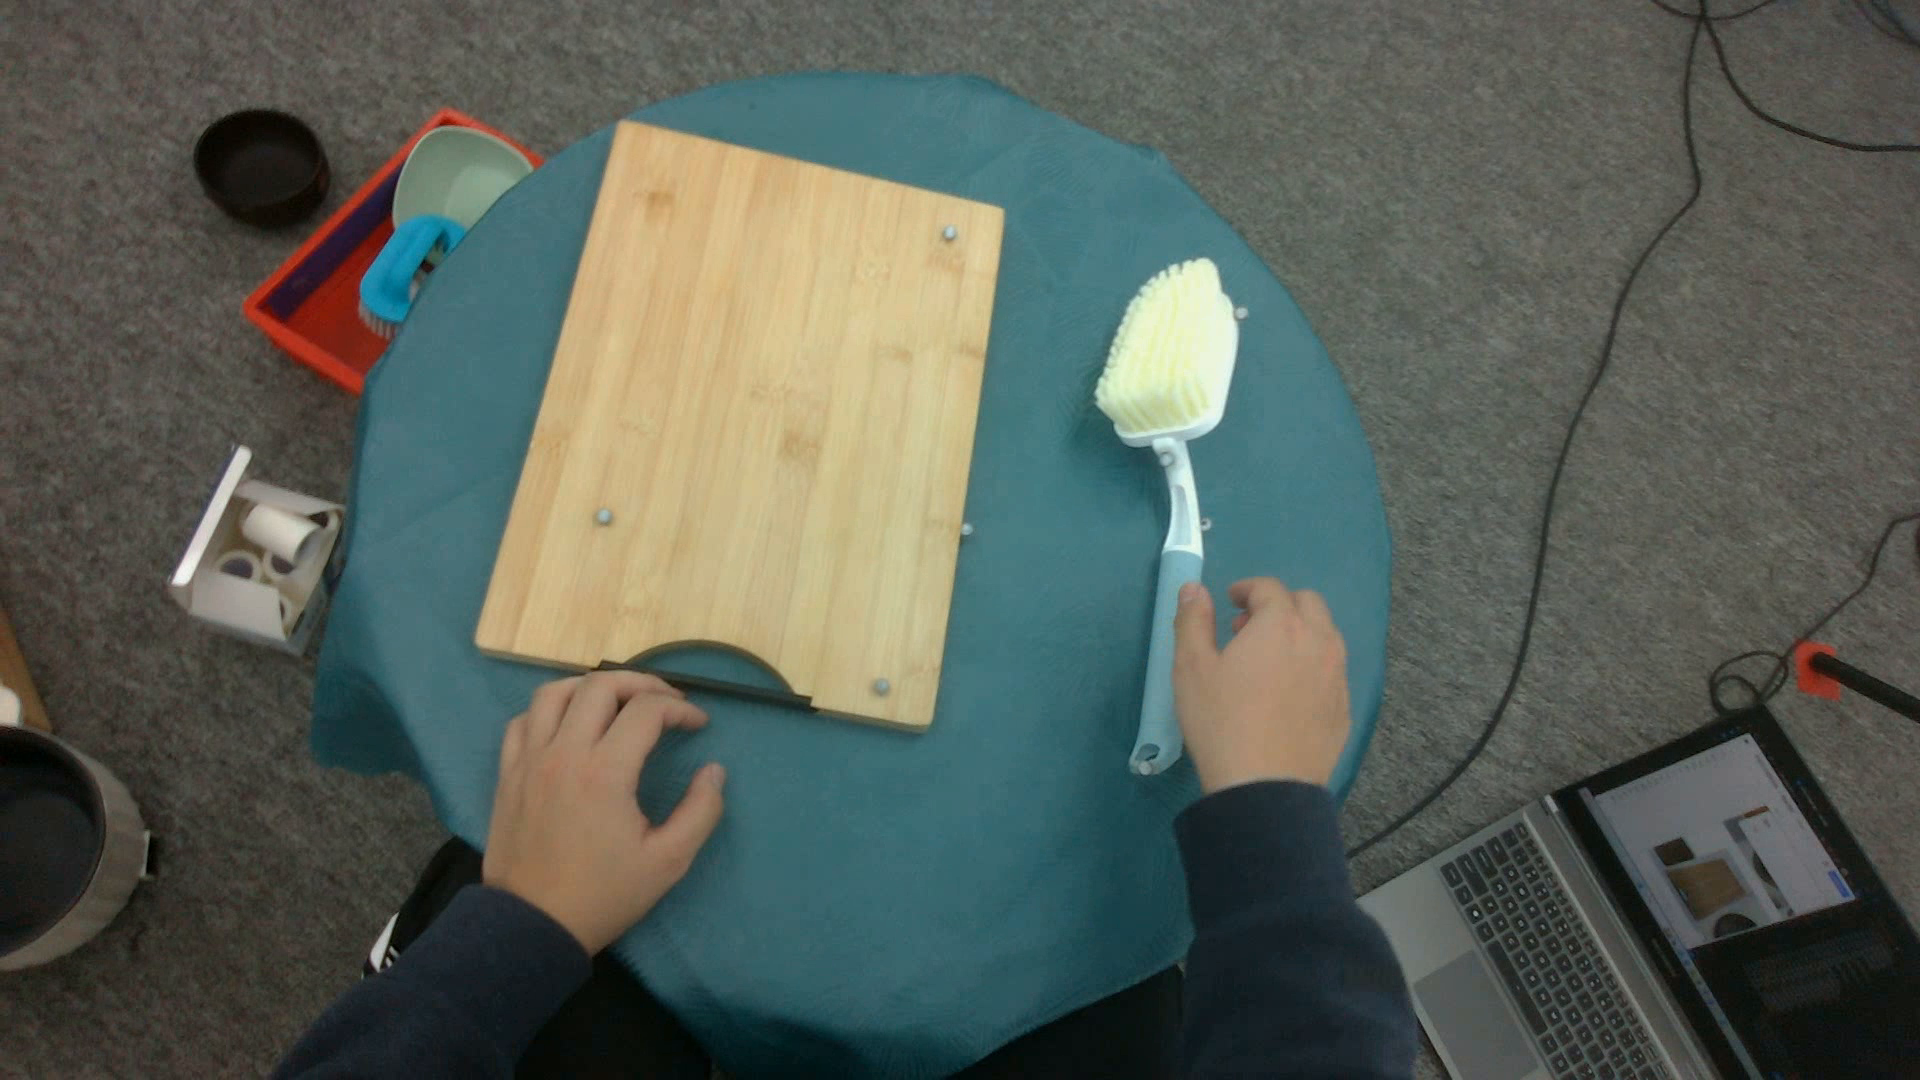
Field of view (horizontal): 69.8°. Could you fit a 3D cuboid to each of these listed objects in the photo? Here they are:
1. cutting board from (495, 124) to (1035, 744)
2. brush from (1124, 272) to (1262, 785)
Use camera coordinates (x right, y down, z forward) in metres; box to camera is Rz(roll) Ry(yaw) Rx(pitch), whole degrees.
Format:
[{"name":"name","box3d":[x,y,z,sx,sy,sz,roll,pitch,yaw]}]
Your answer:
[{"name":"cutting board","box3d":[-0.099,-0.071,0.804,0.251,0.023,0.350,11,68,-6]},{"name":"brush","box3d":[0.129,-0.024,0.794,0.084,0.083,0.326,18,66,-13]}]
